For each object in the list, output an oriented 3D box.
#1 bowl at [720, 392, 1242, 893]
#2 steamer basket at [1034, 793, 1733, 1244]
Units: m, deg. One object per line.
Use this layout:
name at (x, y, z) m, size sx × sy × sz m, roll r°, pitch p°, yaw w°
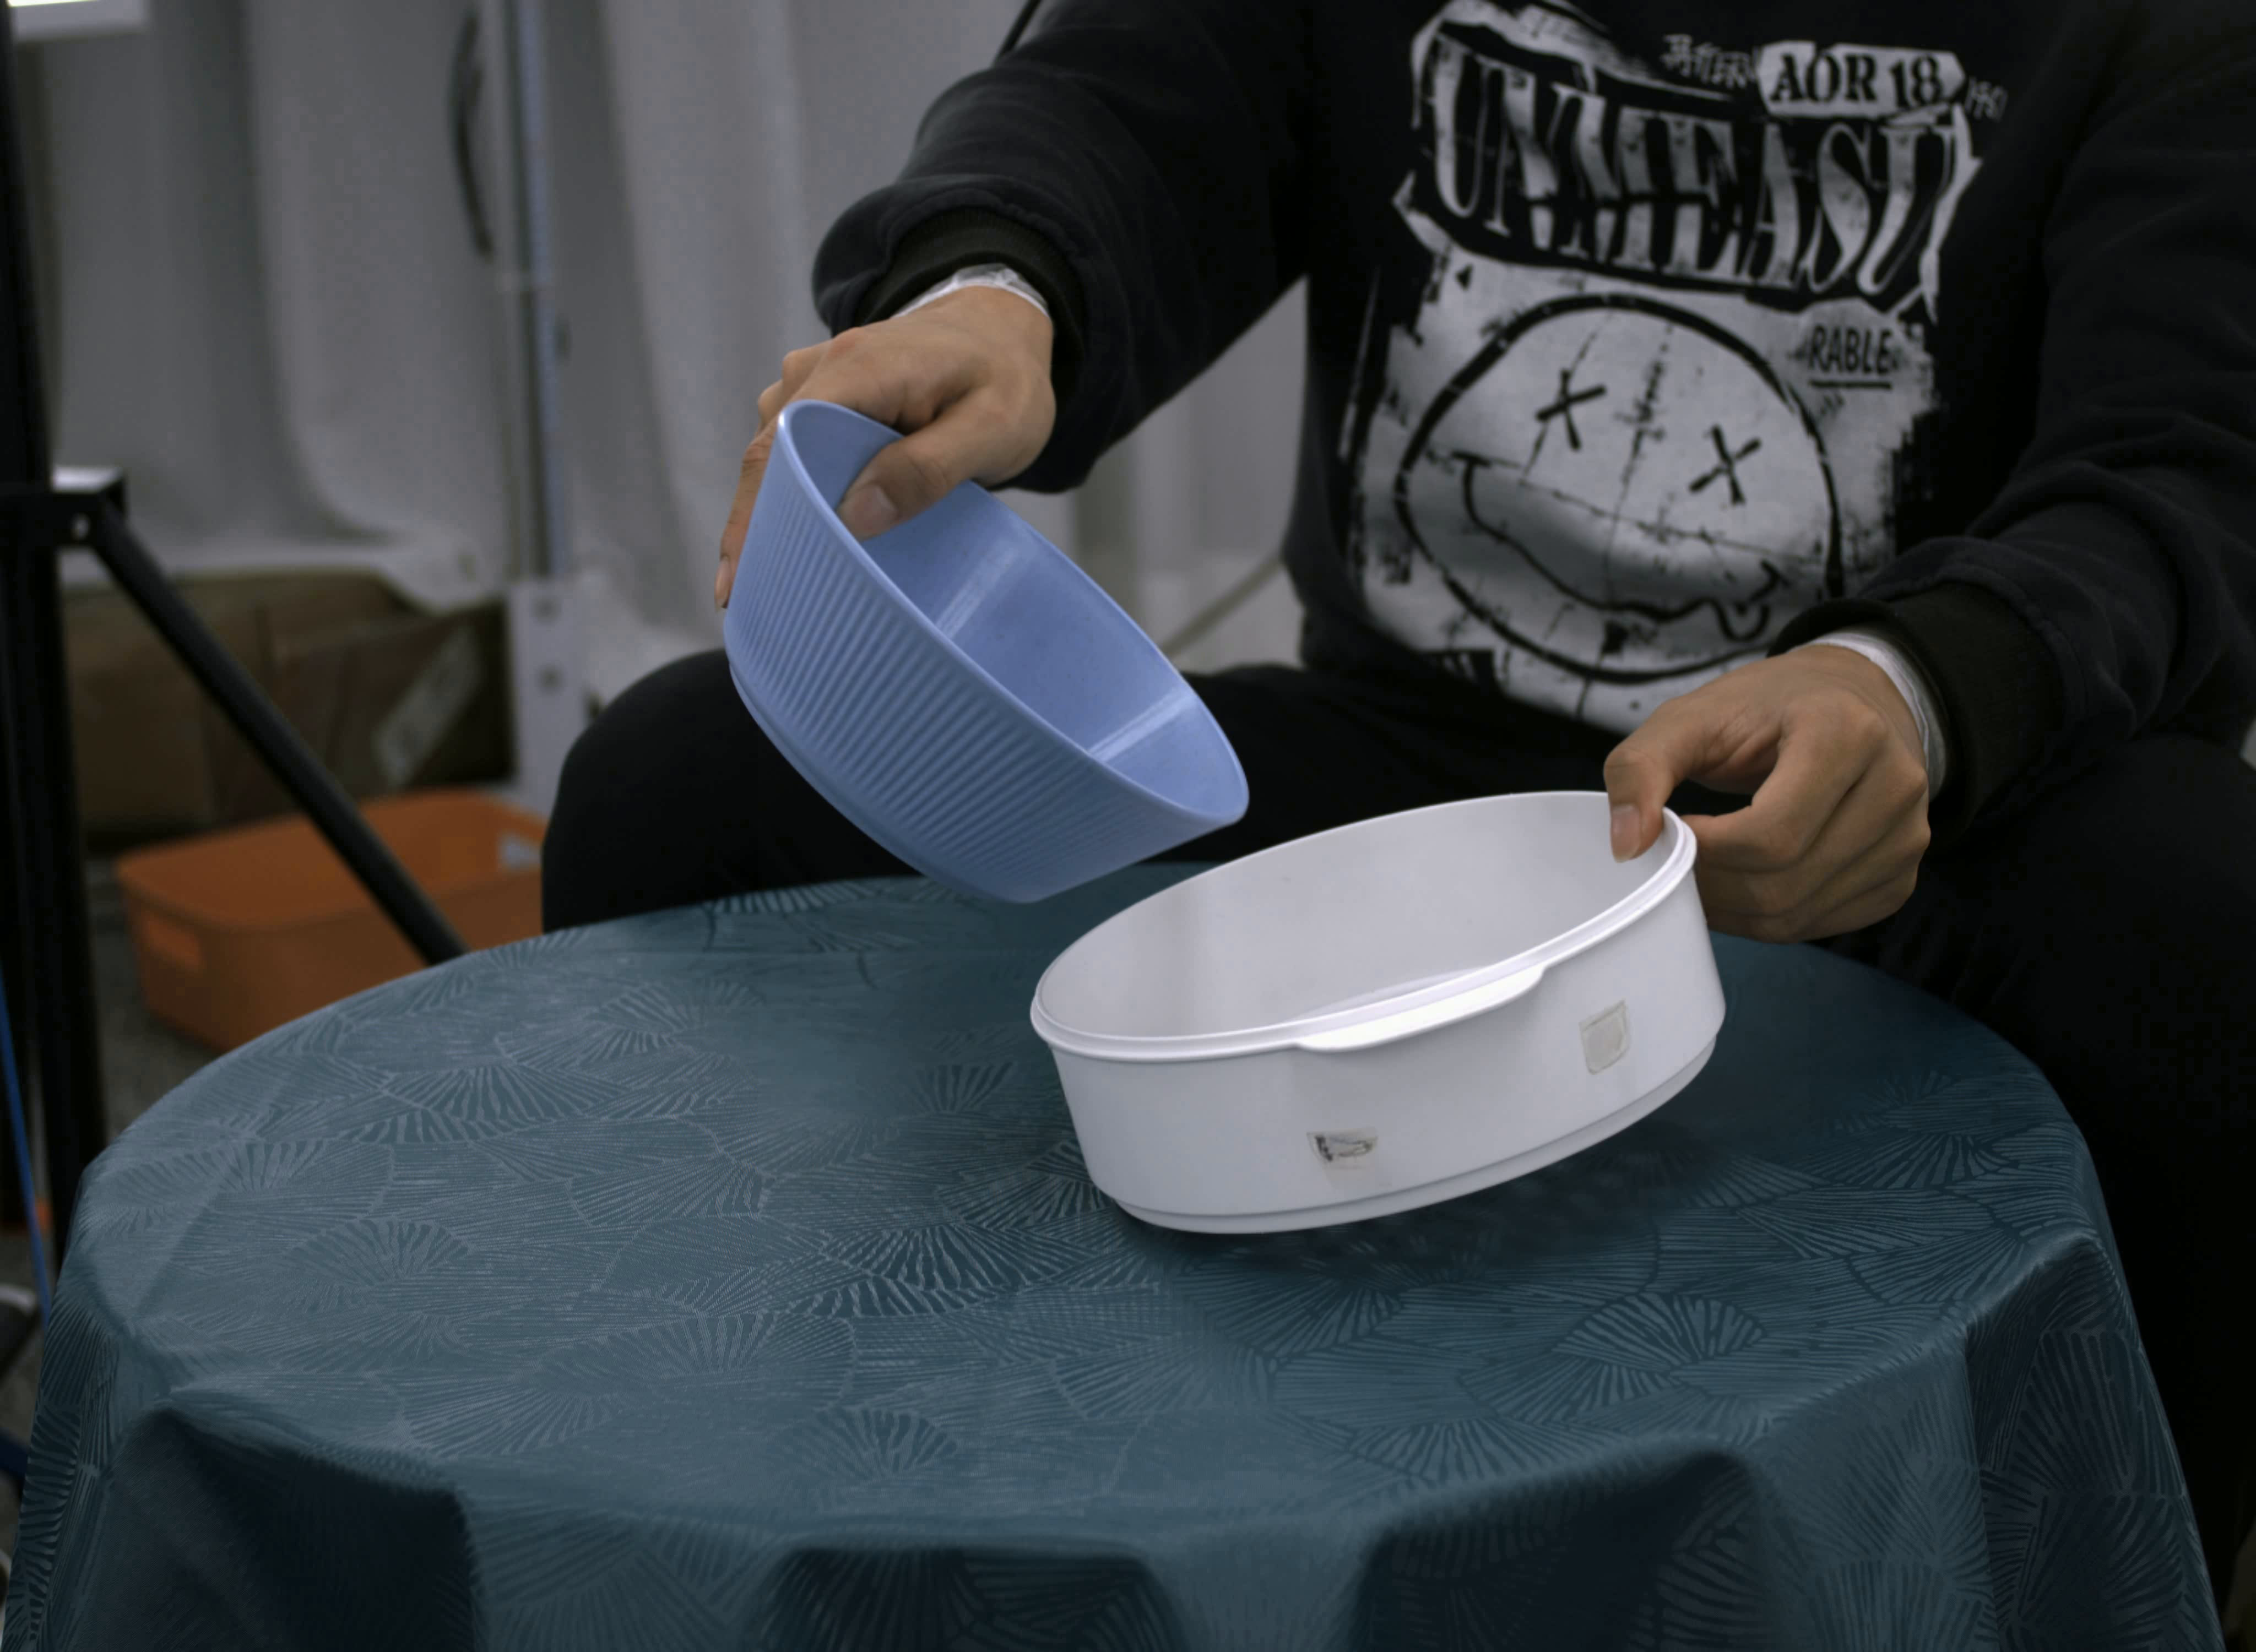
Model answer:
bowl at (-0.053, -0.043, 1.540) m, size 0.174 × 0.070 × 0.177 m, roll 38°, pitch 14°, yaw -14°
steamer basket at (0.077, 0.057, 1.545) m, size 0.200 × 0.069 × 0.233 m, roll -17°, pitch 16°, yaw -3°
